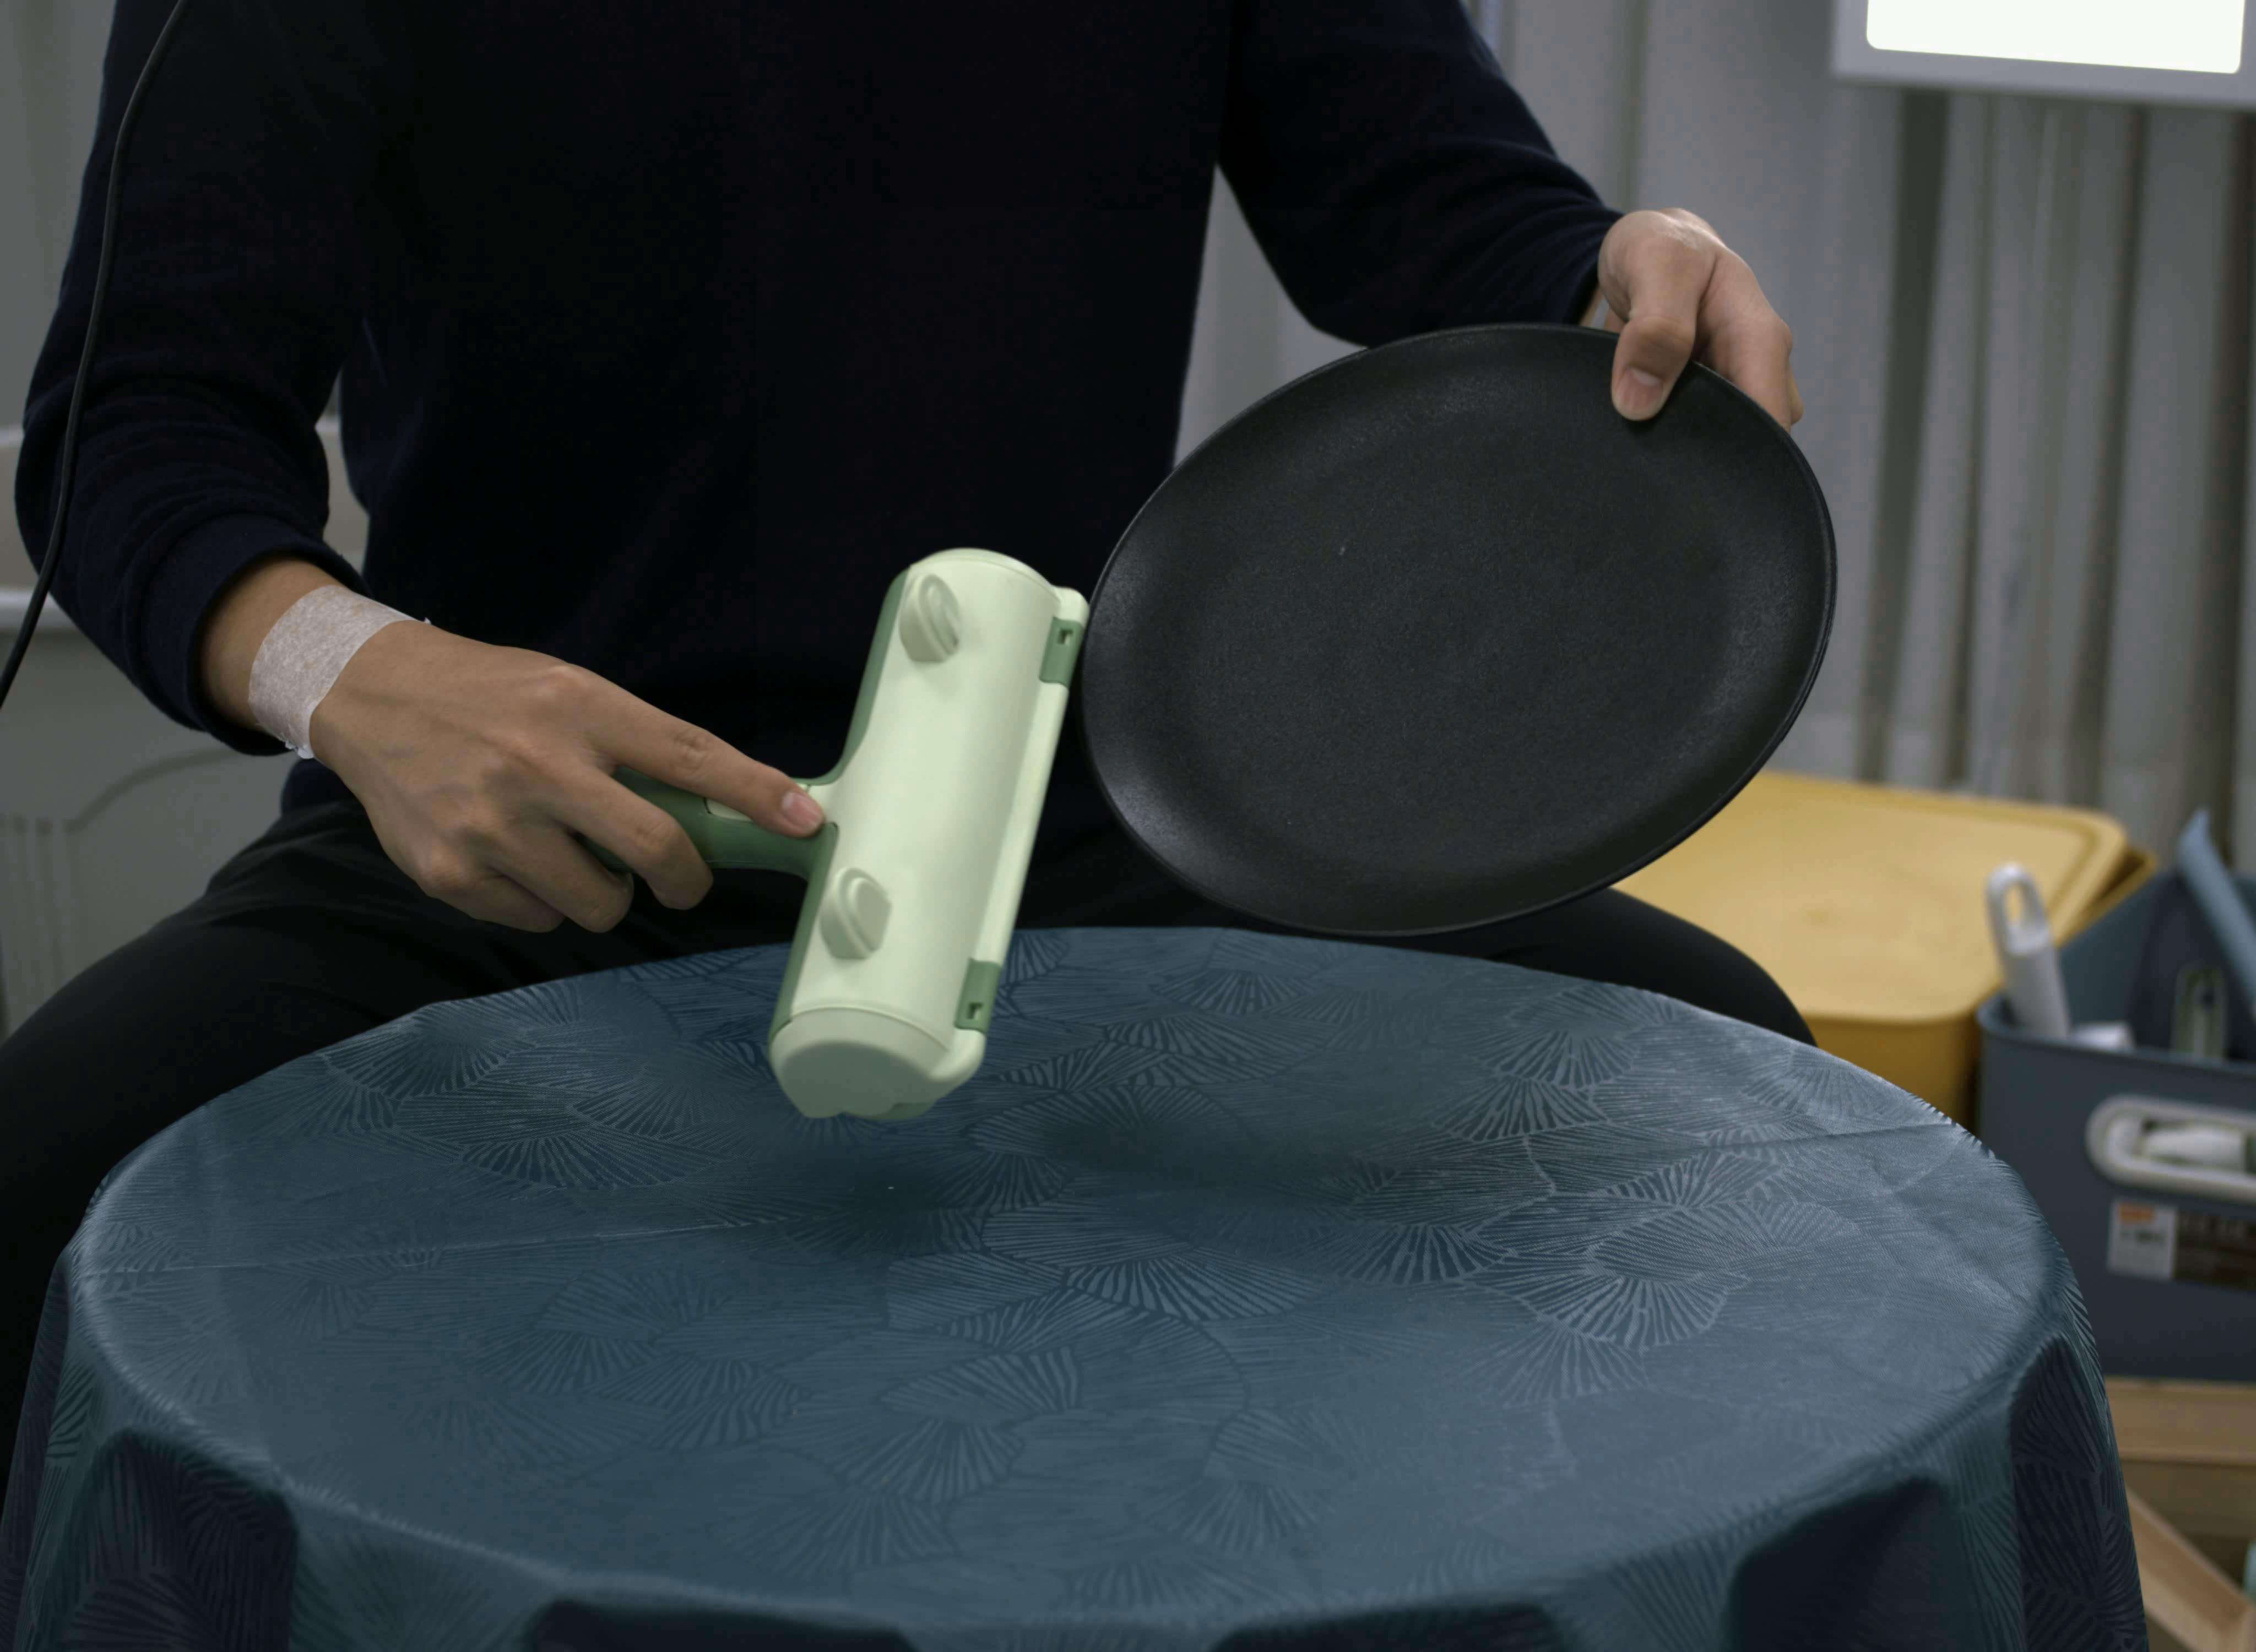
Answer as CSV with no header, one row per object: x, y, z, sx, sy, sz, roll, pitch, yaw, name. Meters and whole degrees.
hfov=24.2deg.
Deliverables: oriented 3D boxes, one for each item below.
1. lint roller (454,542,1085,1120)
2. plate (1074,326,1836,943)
-0.117,-0.014,1.611,0.182,0.083,0.197,10,53,1,lint roller
0.102,-0.059,1.642,0.243,0.024,0.242,-9,51,12,plate
